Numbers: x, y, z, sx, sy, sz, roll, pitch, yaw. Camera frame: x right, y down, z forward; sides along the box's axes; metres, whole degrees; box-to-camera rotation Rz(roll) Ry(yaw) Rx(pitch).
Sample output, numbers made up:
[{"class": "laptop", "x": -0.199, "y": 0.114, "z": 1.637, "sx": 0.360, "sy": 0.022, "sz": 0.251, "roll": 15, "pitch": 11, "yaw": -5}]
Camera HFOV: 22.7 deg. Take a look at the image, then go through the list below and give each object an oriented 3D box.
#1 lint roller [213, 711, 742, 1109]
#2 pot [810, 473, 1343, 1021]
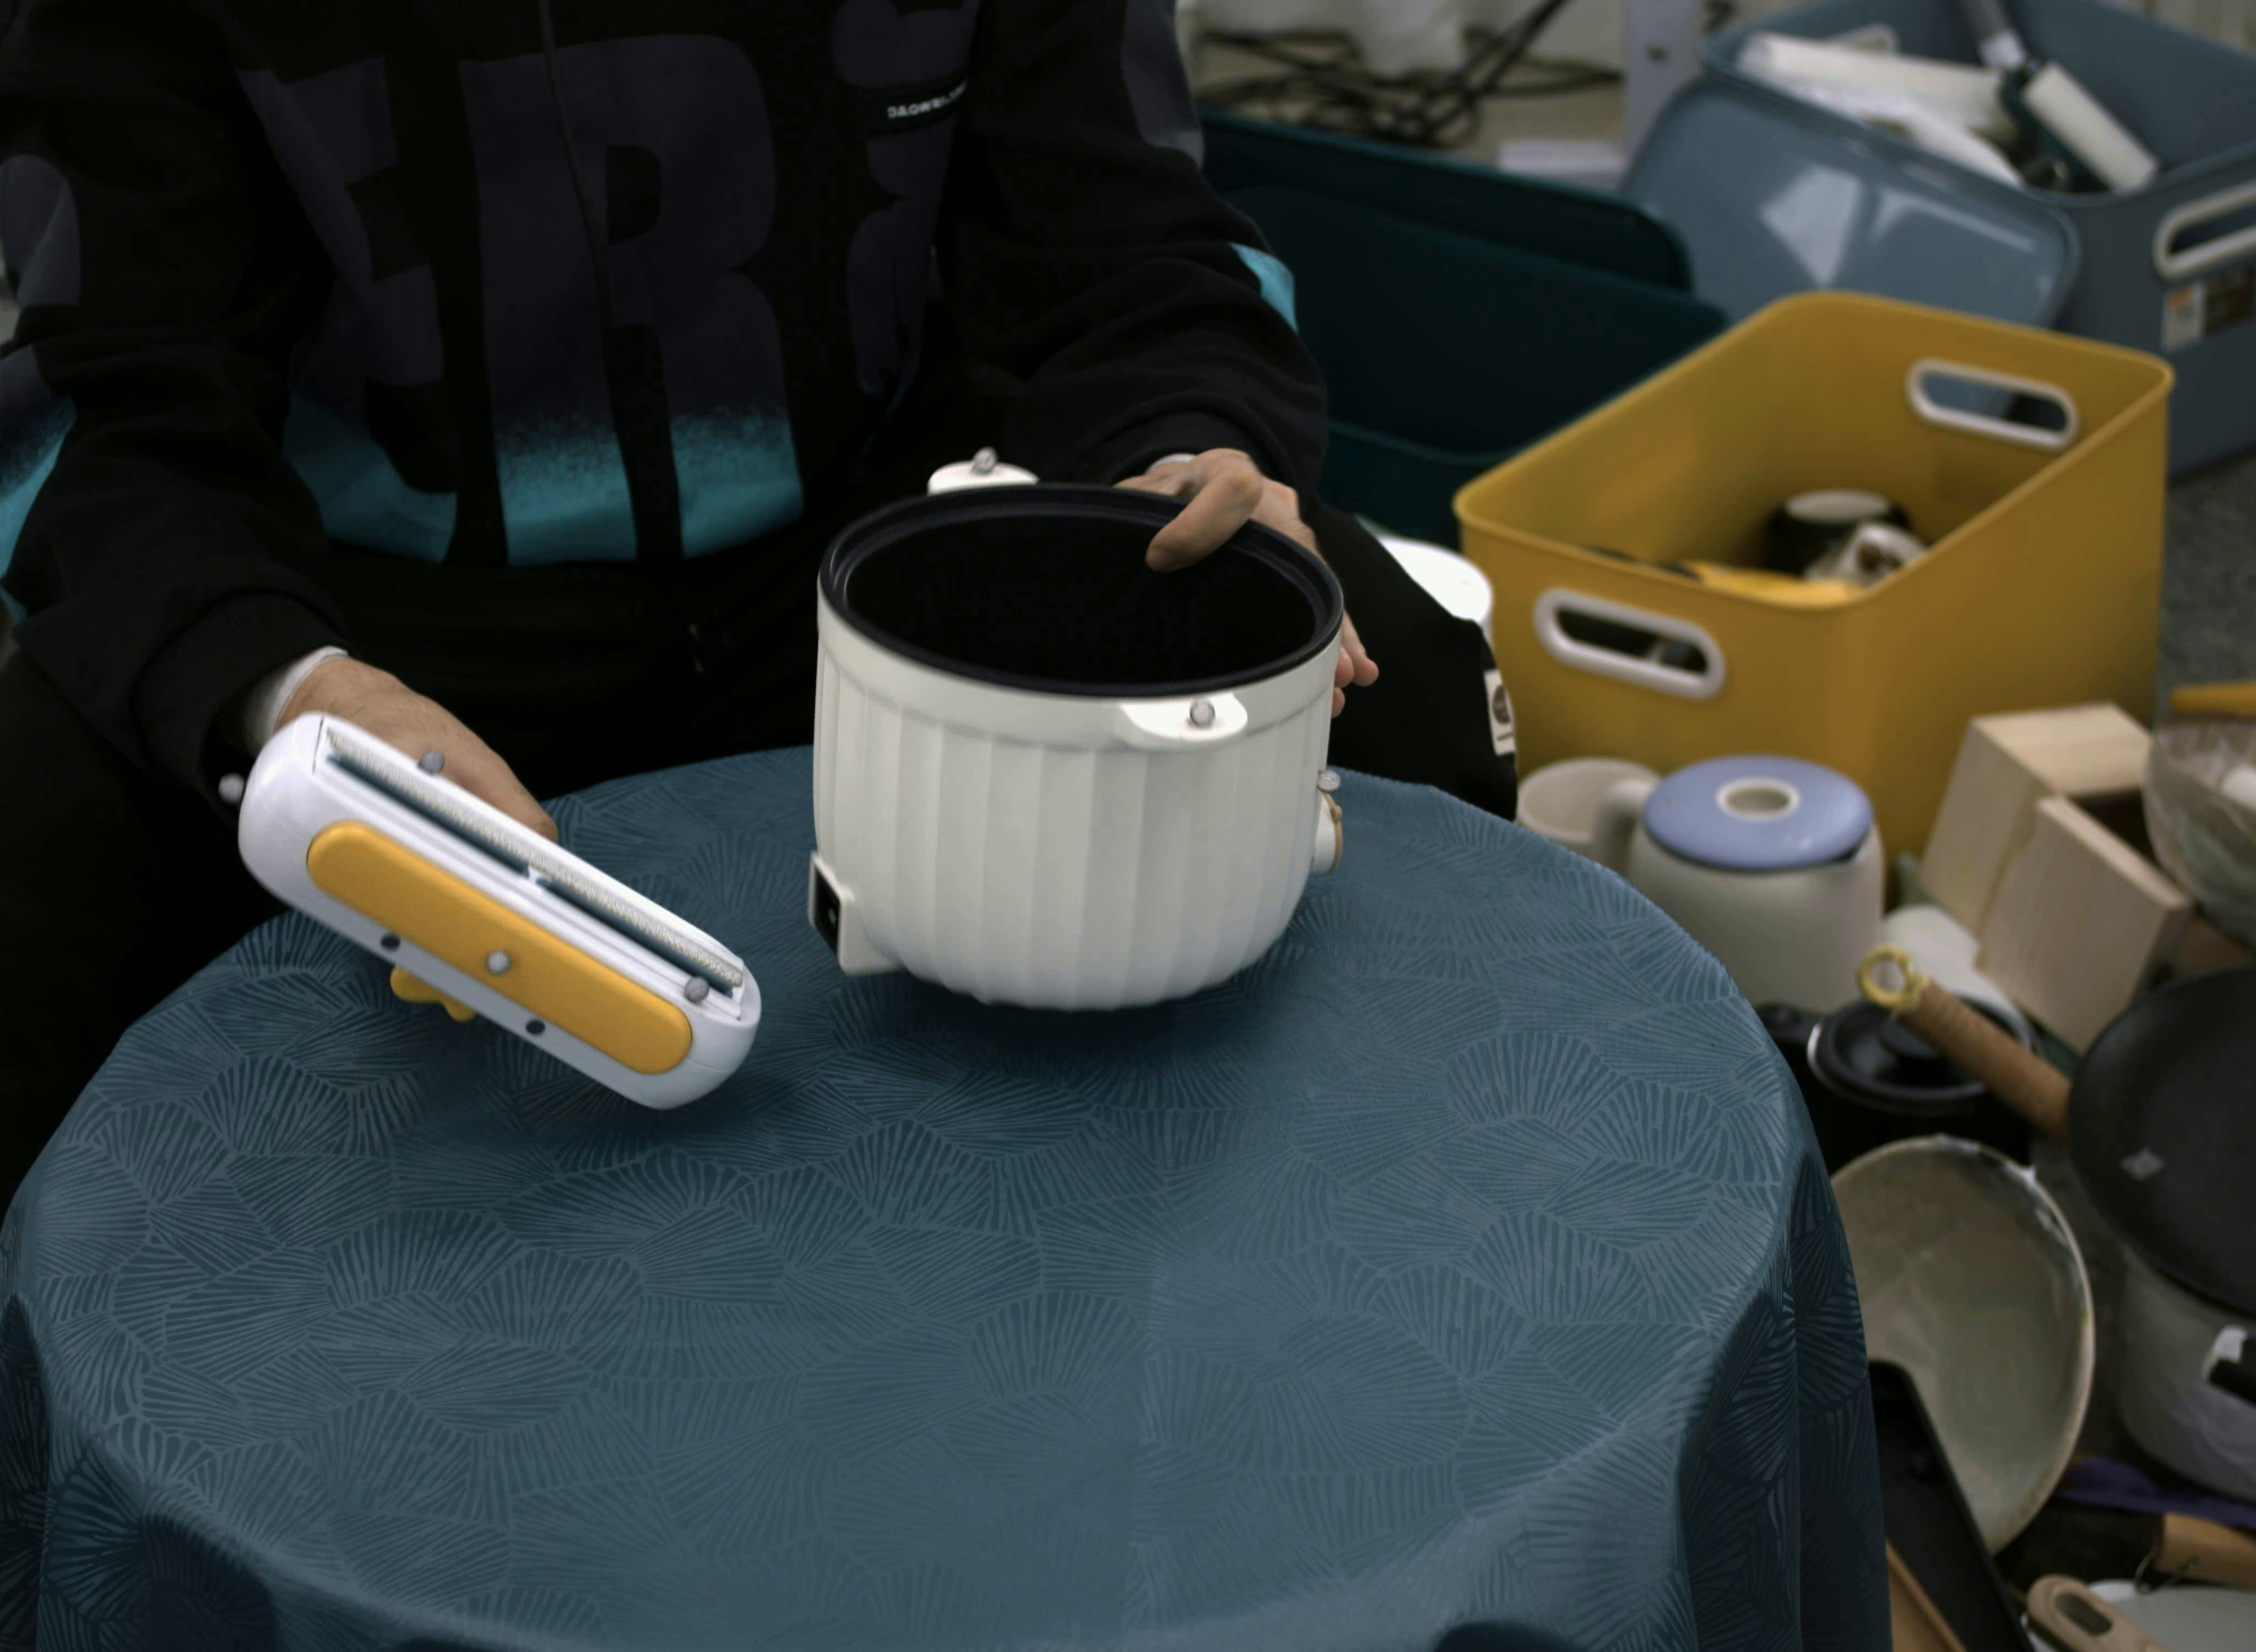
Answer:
[{"class": "lint roller", "x": -0.226, "y": 0.018, "z": 1.945, "sx": 0.192, "sy": 0.074, "sz": 0.194, "roll": 27, "pitch": 13, "yaw": -12}, {"class": "pot", "x": -0.015, "y": -0.022, "z": 1.959, "sx": 0.191, "sy": 0.141, "sz": 0.242, "roll": -10, "pitch": 29, "yaw": -20}]
